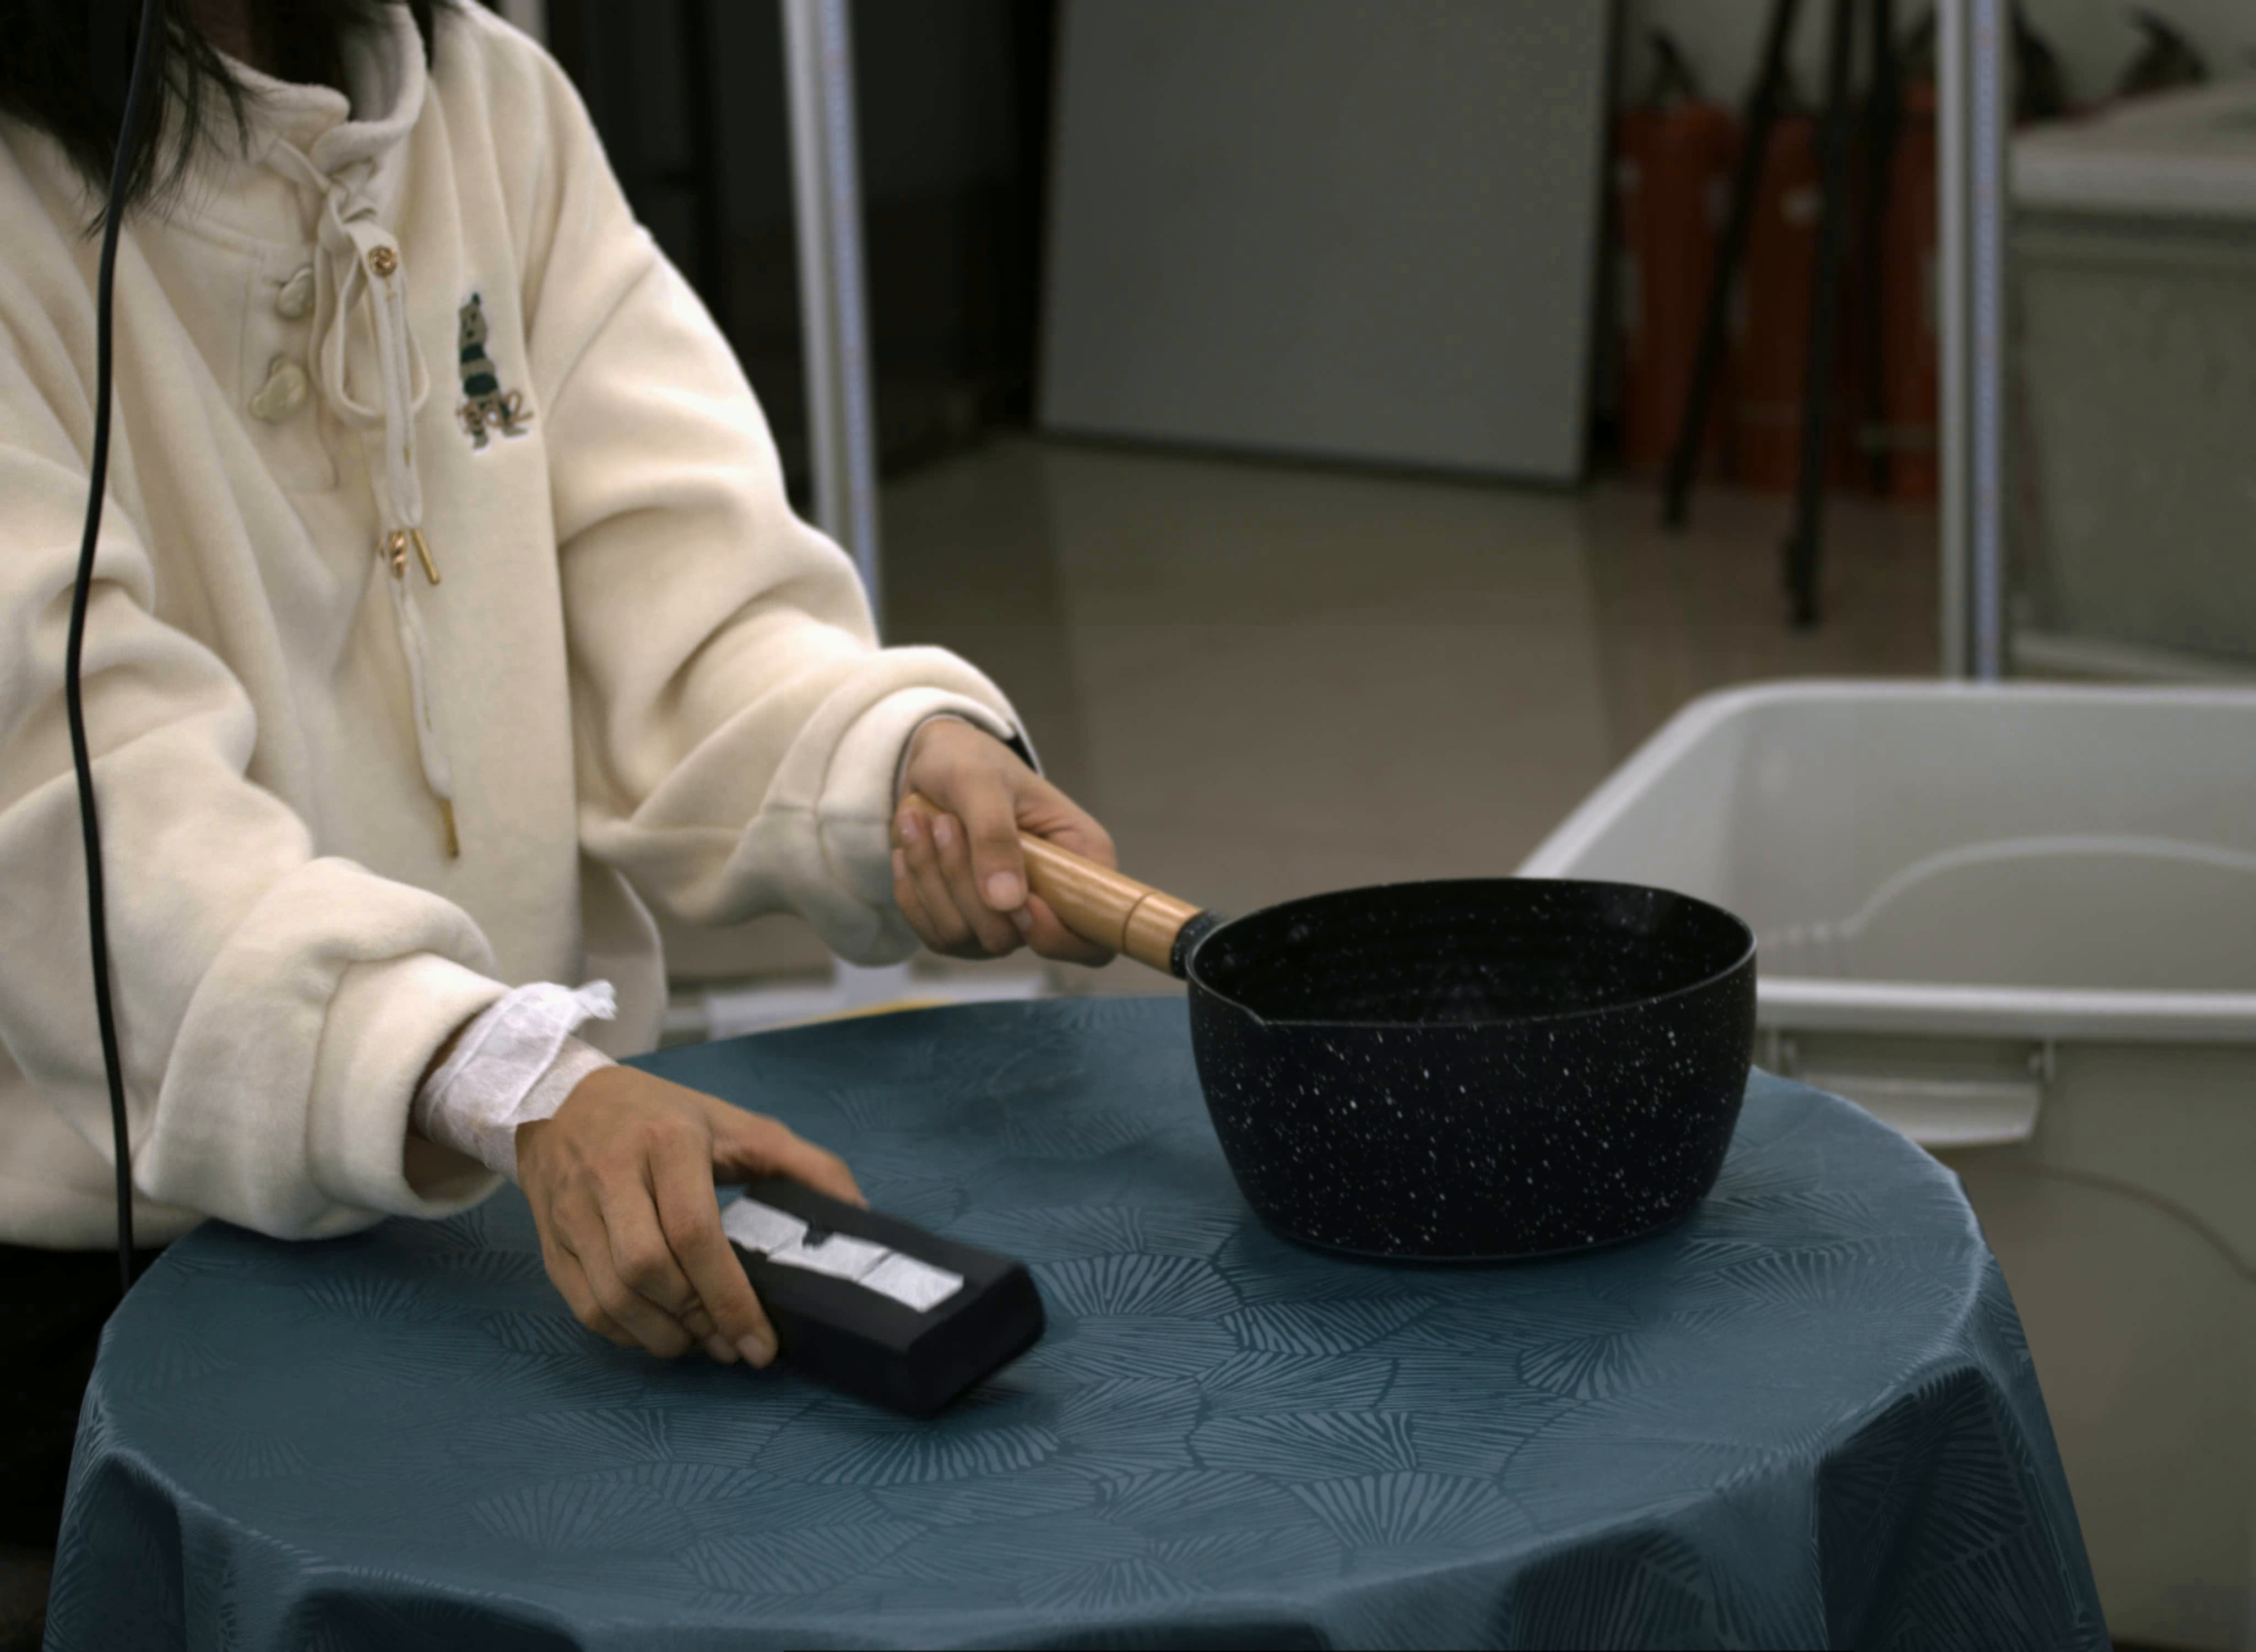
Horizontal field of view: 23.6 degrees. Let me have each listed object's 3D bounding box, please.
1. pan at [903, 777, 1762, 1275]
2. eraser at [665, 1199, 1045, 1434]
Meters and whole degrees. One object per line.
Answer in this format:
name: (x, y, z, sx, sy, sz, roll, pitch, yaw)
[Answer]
pan: (0.053, 0.059, 1.777, 0.345, 0.109, 0.203, 10, 20, 41)
eraser: (-0.081, 0.145, 1.613, 0.052, 0.030, 0.127, -29, 26, -32)
